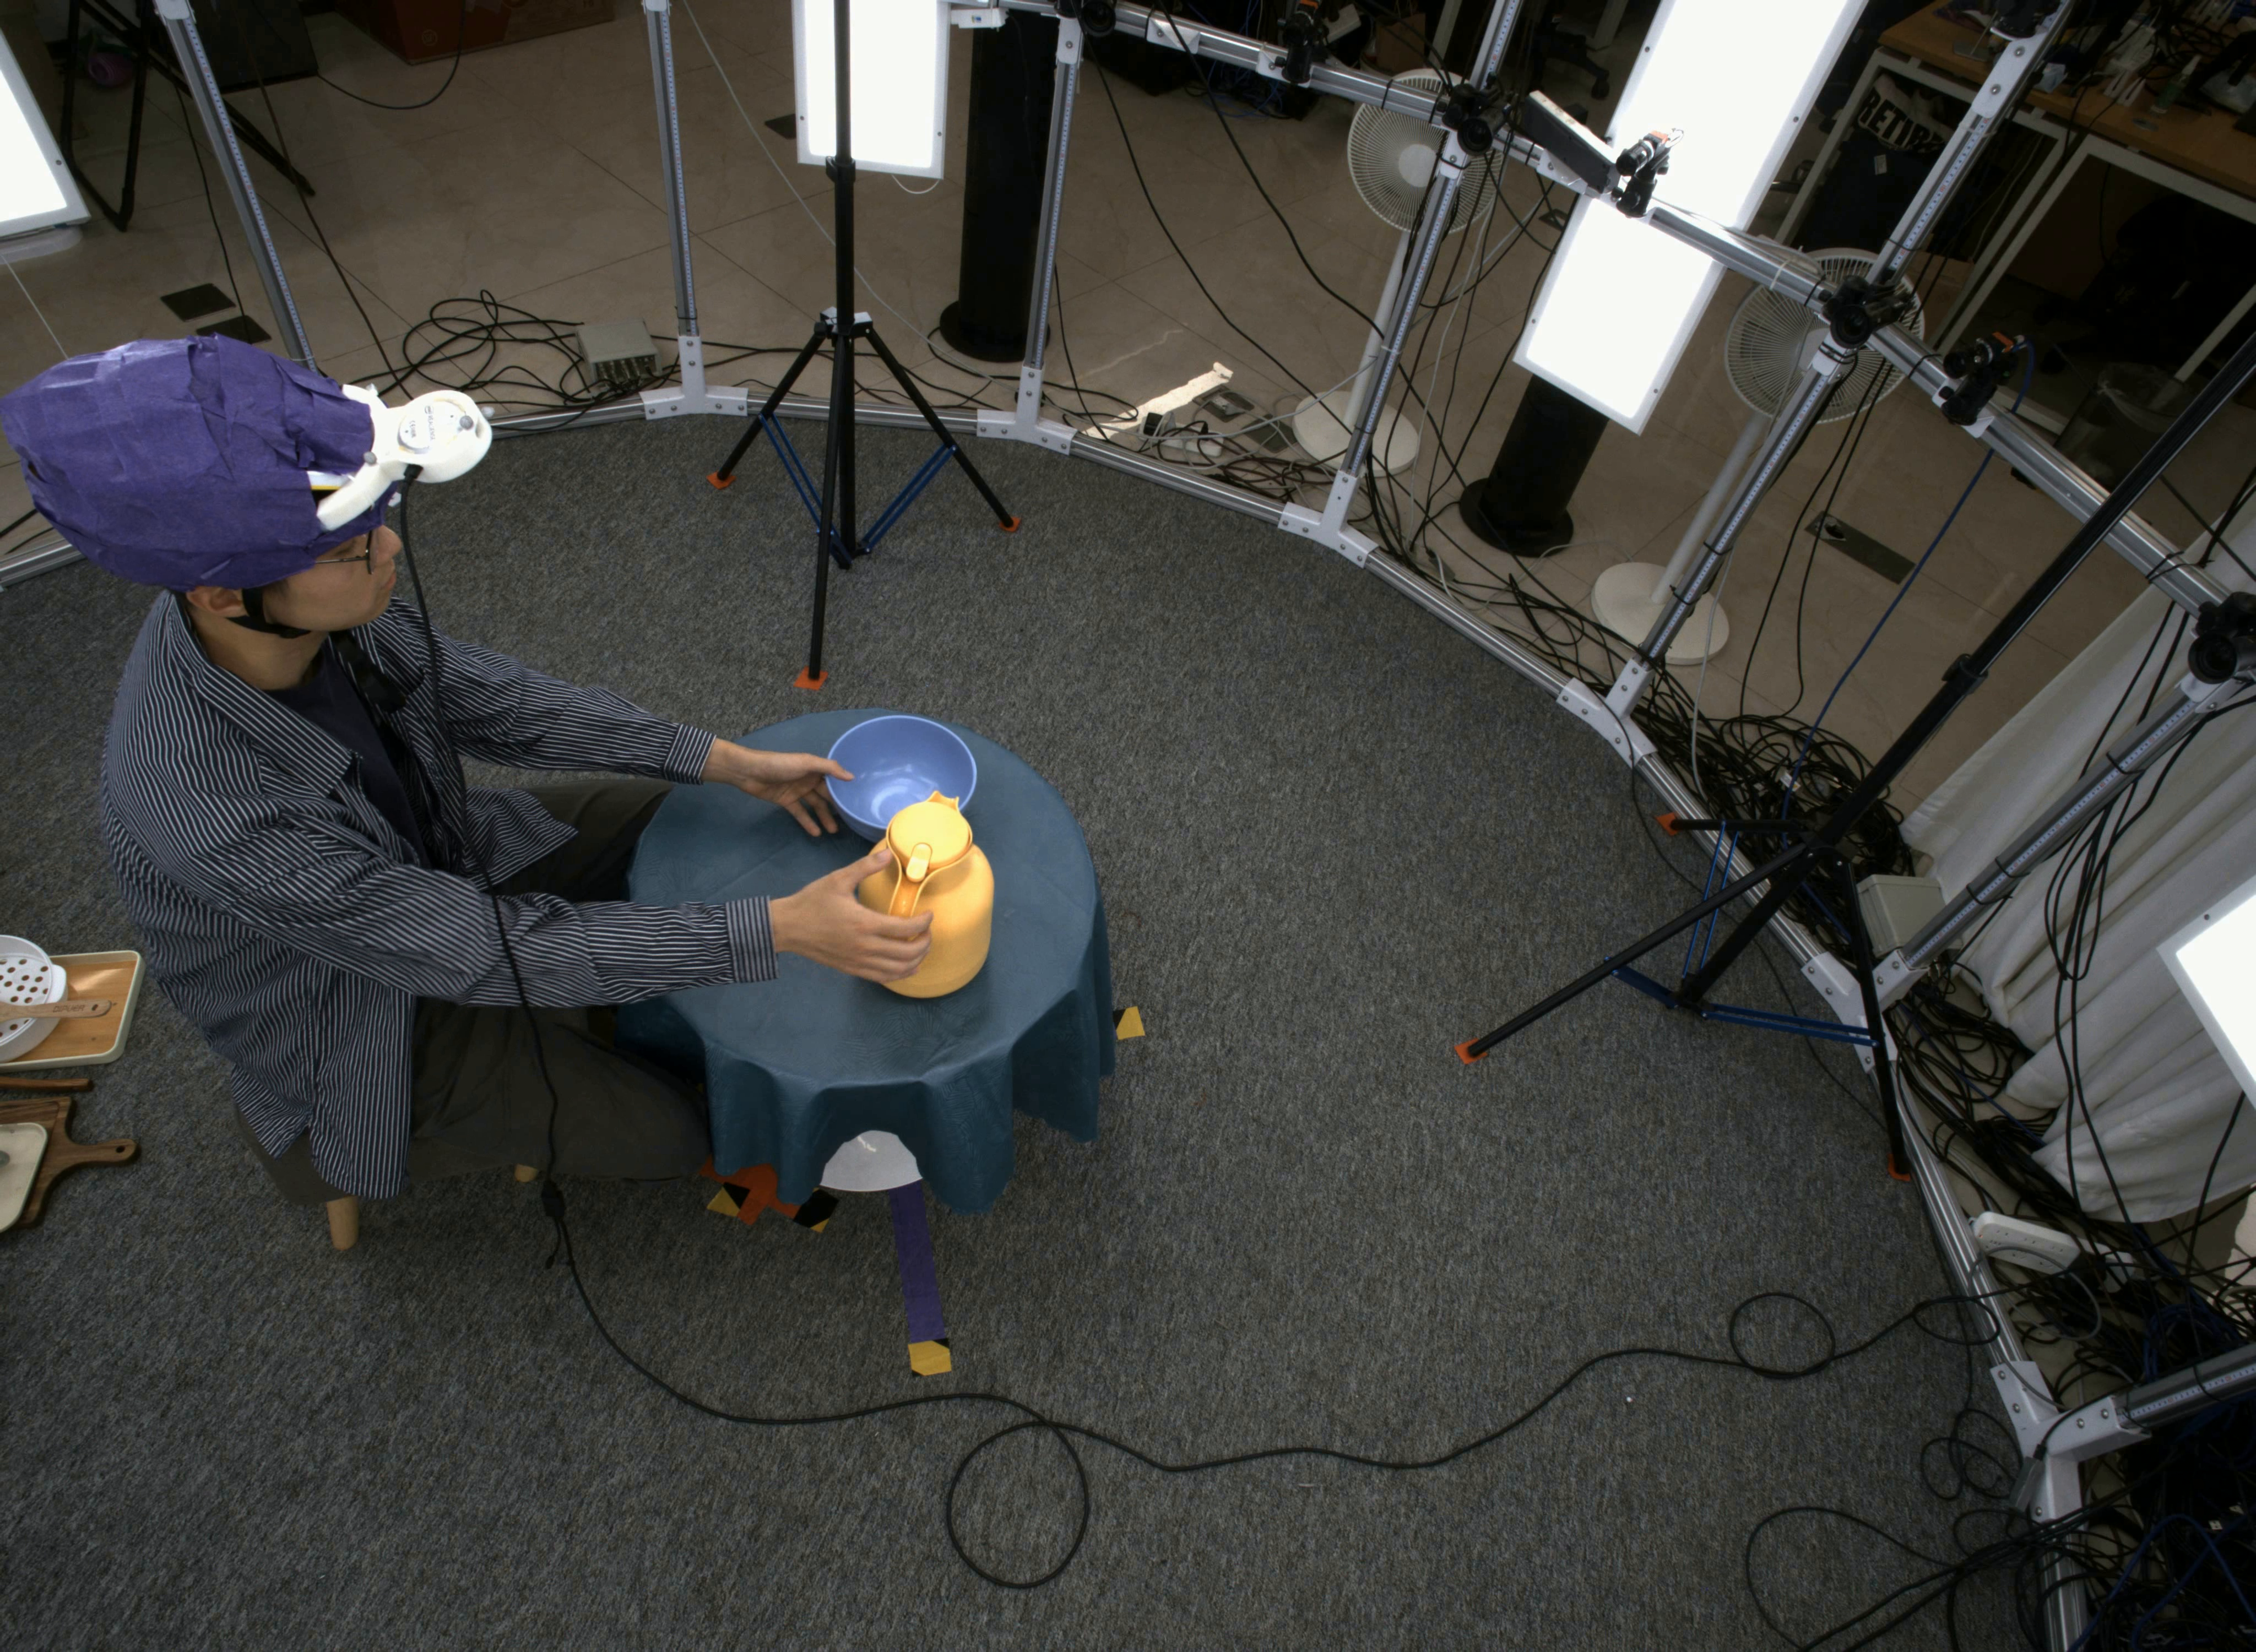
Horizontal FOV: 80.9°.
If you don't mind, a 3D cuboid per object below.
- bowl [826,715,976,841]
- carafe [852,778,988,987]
[{"bbox_3d":[-0.303,-0.043,1.741,0.196,0.097,0.193,7,52,-8],"label":"bowl"},{"bbox_3d":[-0.255,0.082,1.553,0.162,0.266,0.200,14,52,0],"label":"carafe"}]
